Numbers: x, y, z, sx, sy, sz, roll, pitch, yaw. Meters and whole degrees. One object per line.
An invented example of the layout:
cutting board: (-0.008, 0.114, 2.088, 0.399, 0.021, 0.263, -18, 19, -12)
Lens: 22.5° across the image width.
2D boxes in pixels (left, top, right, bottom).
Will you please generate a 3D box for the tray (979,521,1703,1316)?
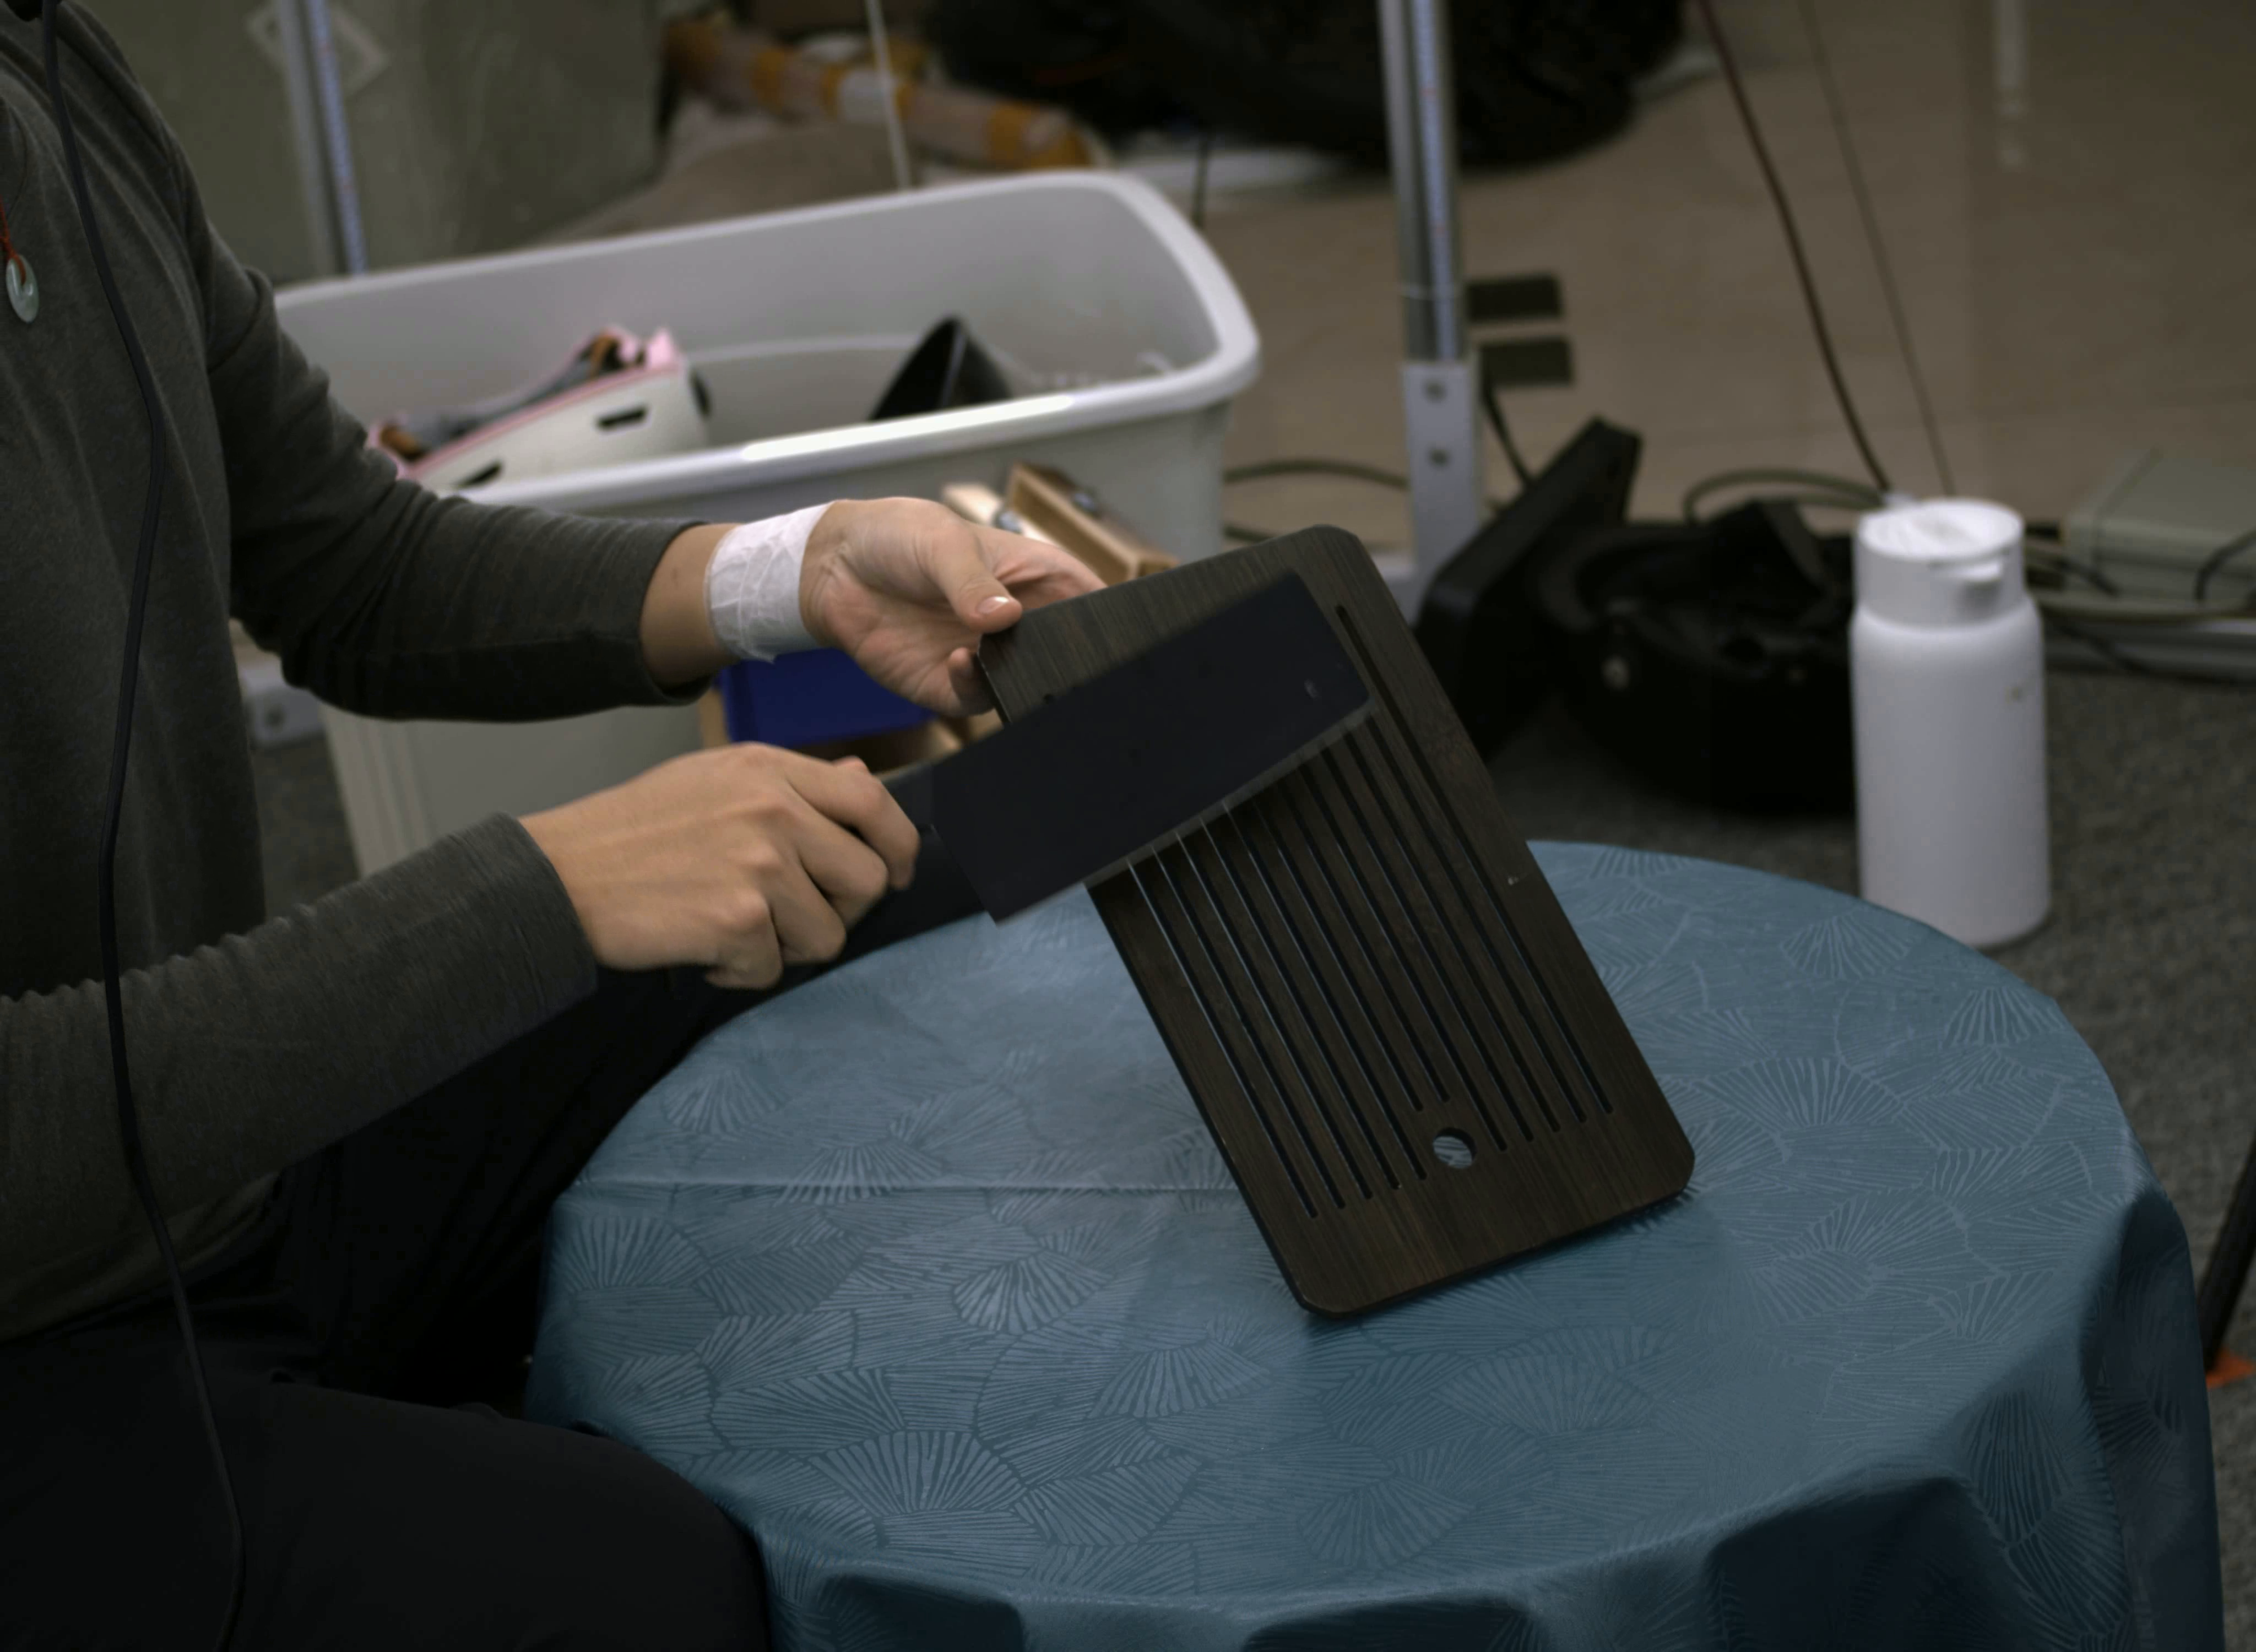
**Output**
tray: (0.077, 0.031, 2.125, 0.169, 0.019, 0.303, -19, 68, -22)

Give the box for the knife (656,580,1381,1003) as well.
knife: (-0.041, -0.005, 2.066, 0.300, 0.080, 0.021, -24, -8, -23)
